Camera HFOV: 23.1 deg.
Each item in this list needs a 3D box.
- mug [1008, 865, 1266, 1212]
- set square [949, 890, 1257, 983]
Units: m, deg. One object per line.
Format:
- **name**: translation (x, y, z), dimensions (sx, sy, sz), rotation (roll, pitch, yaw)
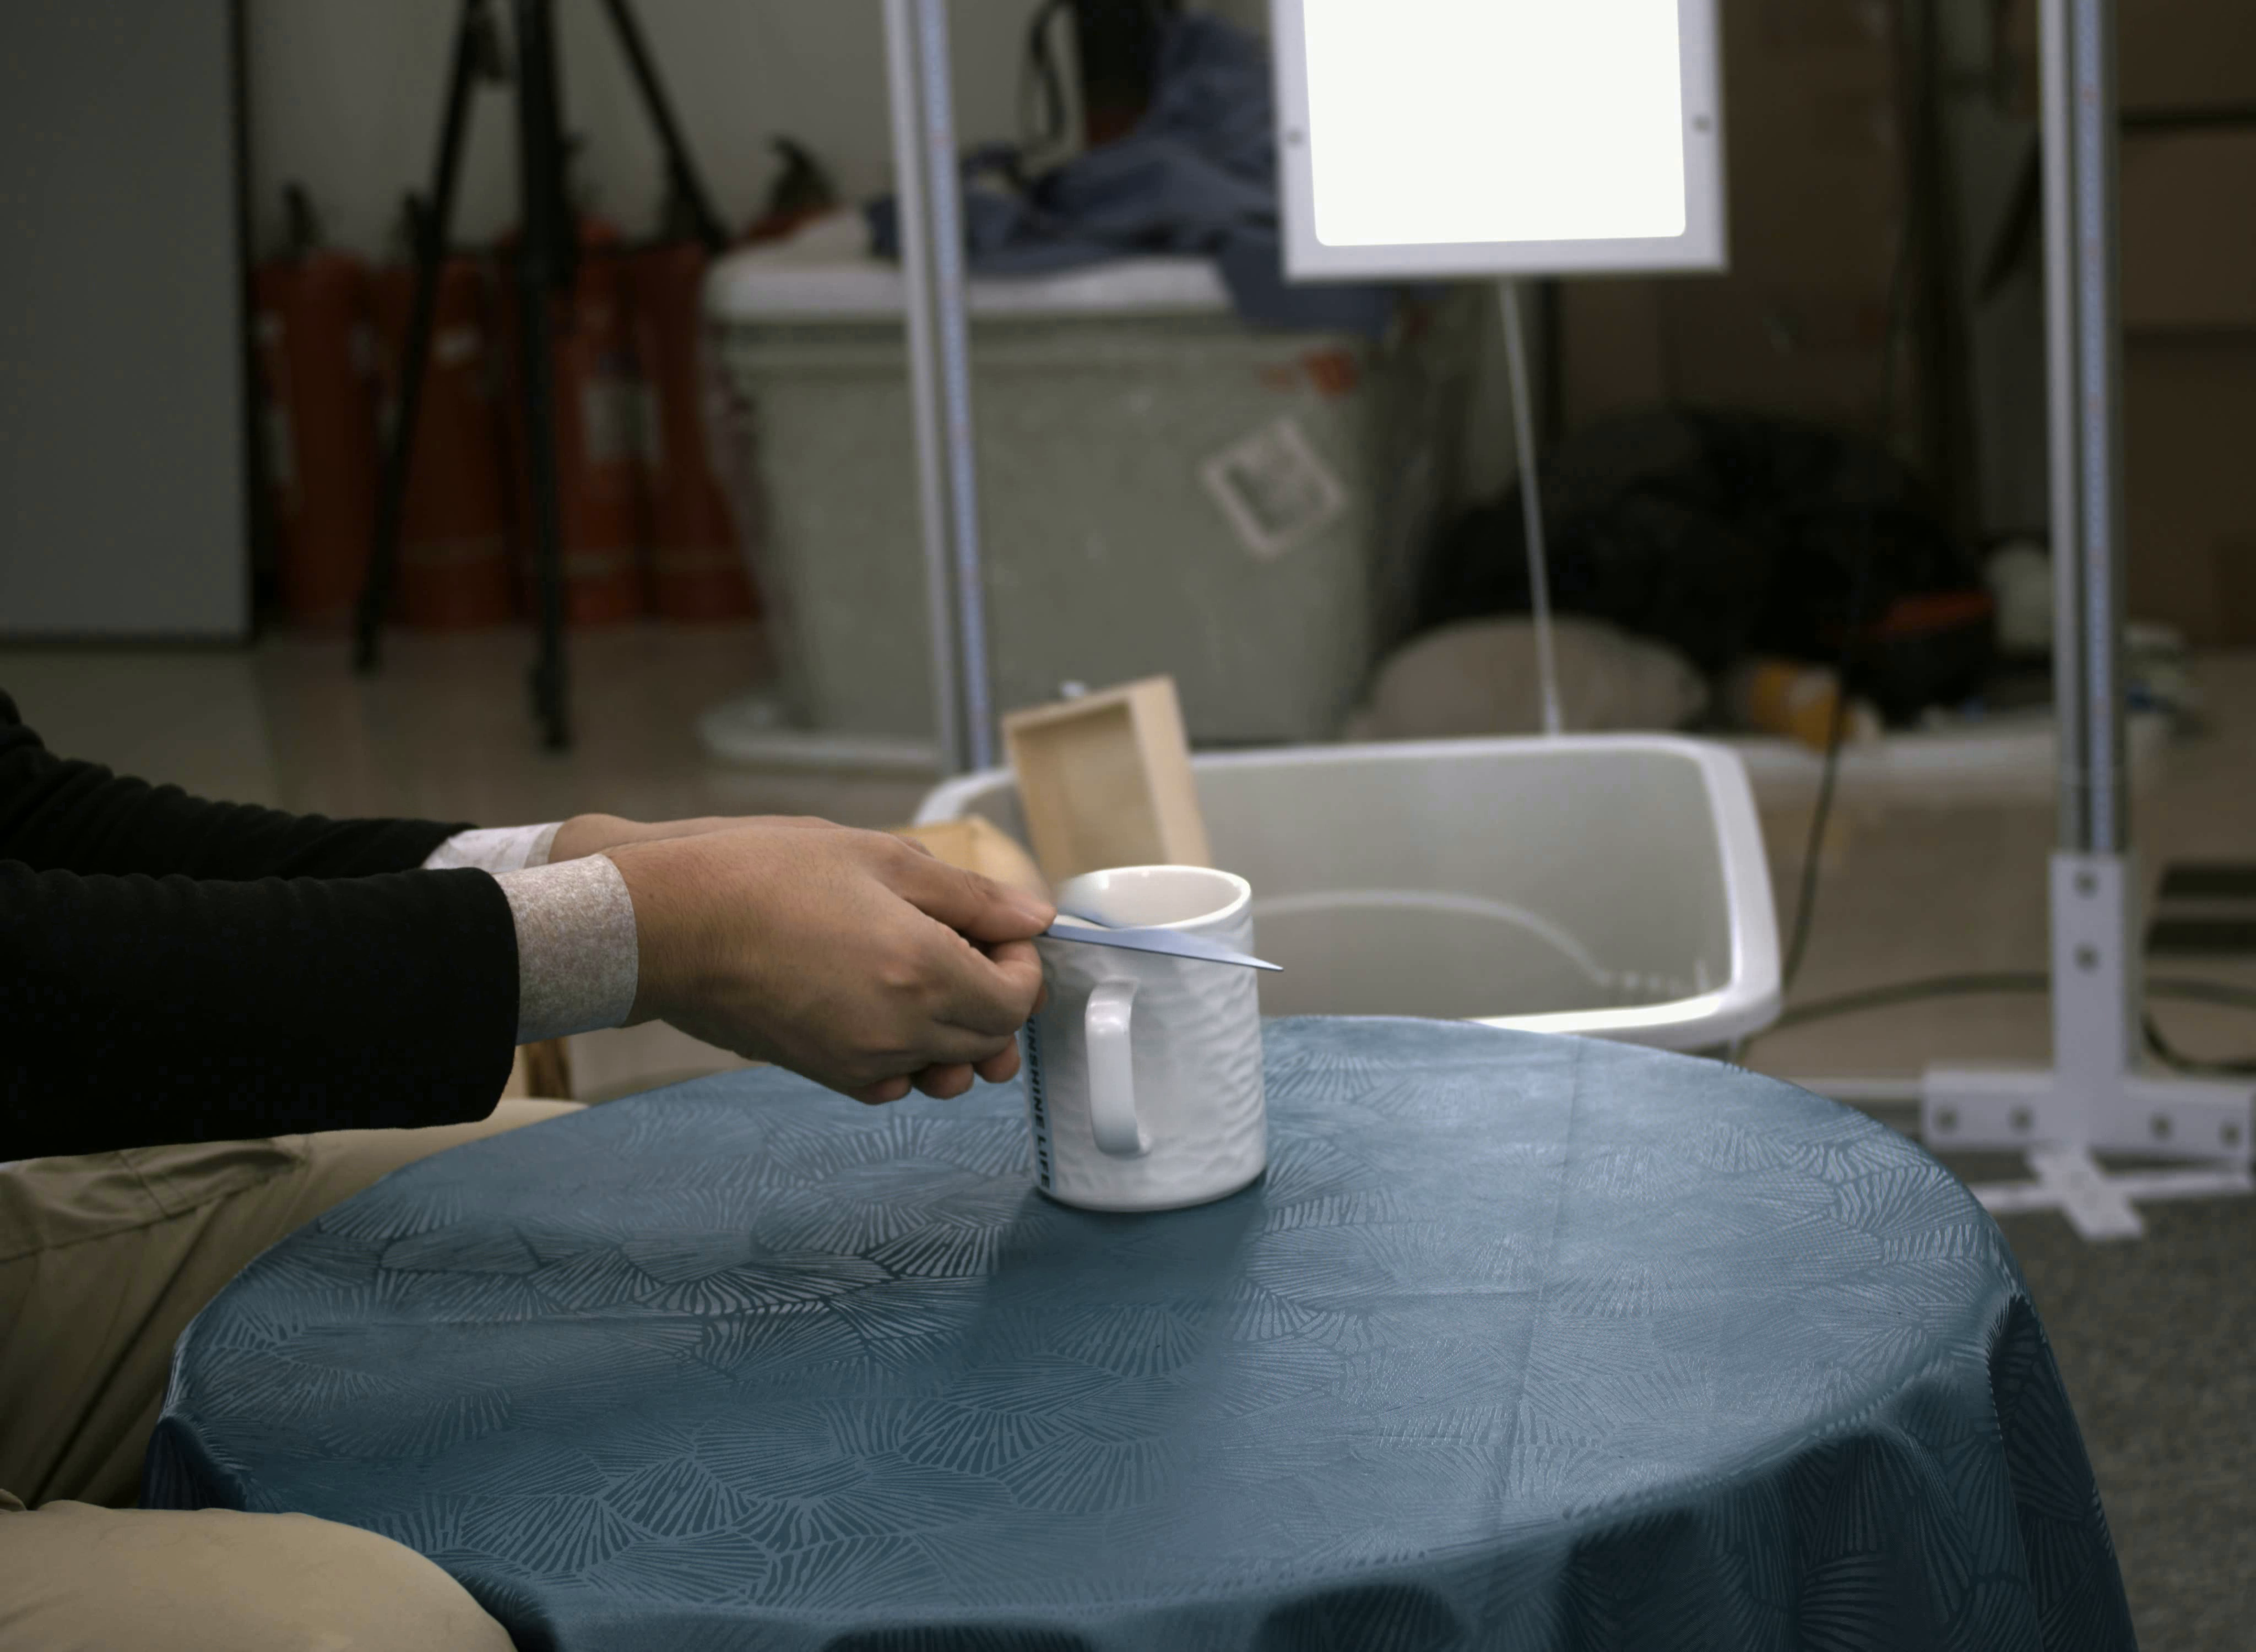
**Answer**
- **mug**: translation (0.002, 0.077, 1.884), dimensions (0.085, 0.102, 0.117), rotation (-2, 14, 9)
- **set square**: translation (-0.015, 0.036, 1.819), dimensions (0.059, 0.006, 0.134), rotation (-4, 14, -33)
